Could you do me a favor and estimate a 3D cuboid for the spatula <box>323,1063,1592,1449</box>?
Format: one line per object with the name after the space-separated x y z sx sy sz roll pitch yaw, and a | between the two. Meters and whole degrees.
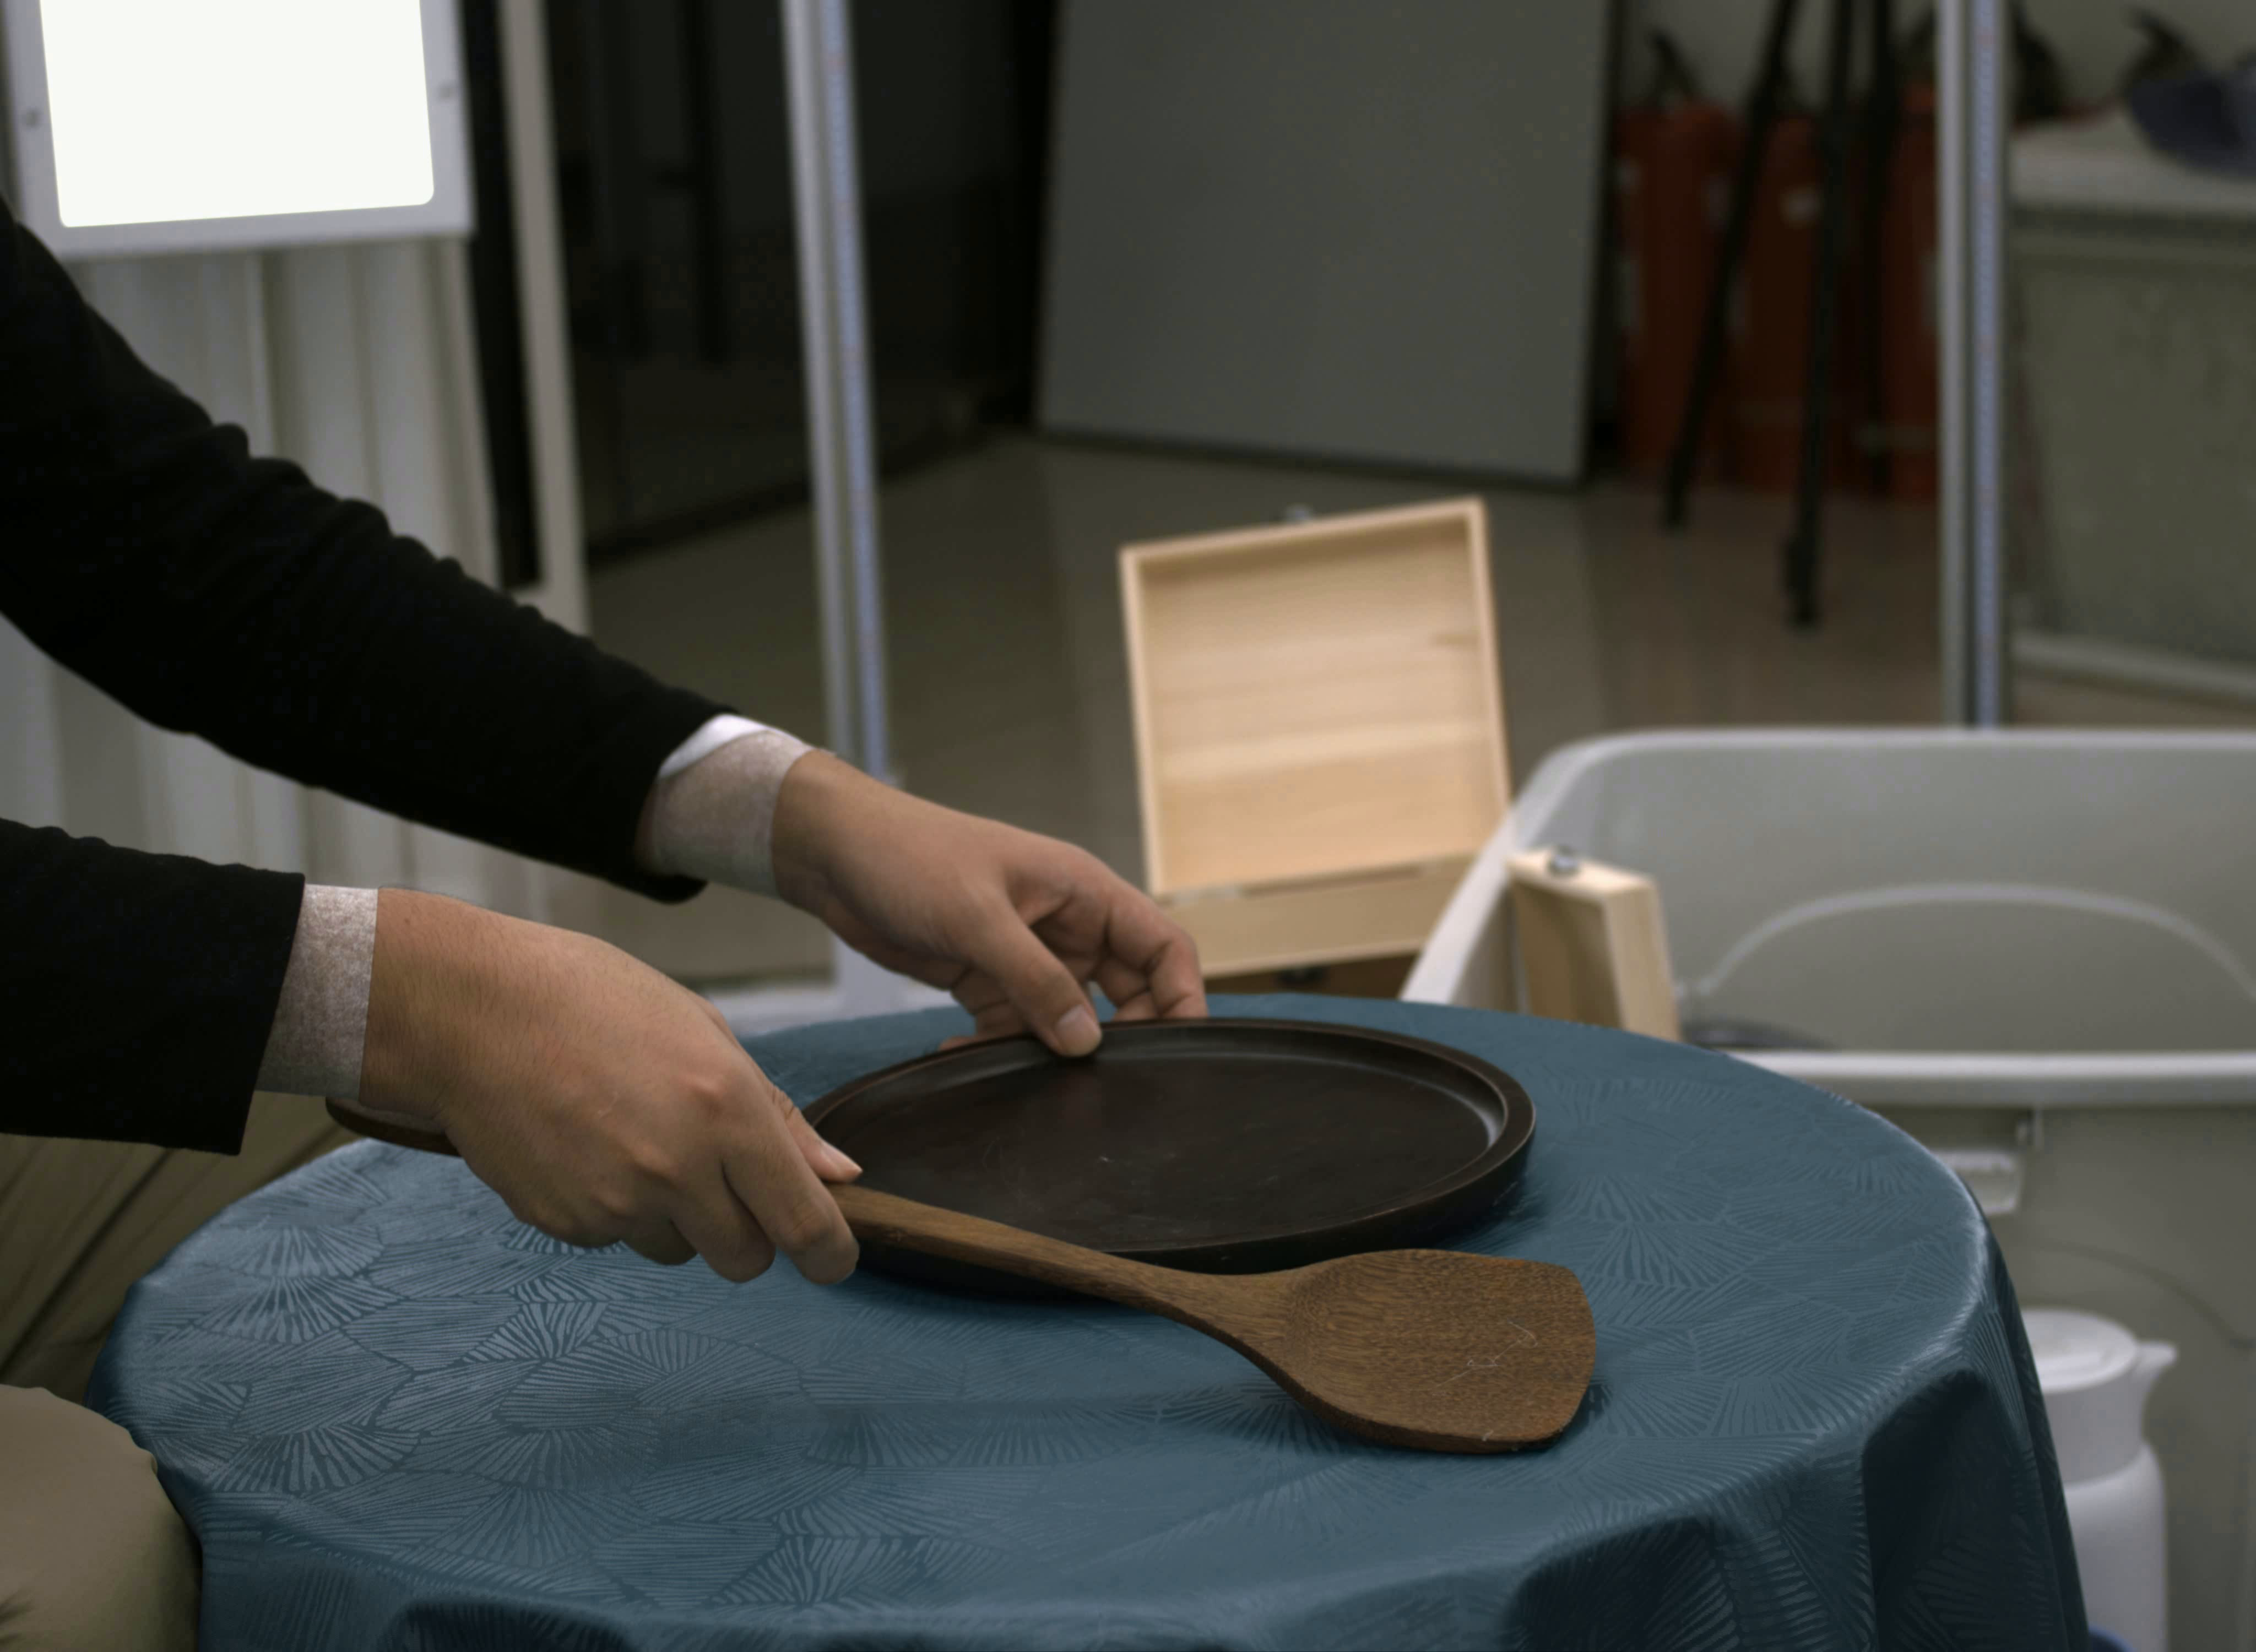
-0.052 0.118 1.575 0.383 0.016 0.096 13 32 8 | spatula

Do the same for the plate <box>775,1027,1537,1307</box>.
0.010 0.109 1.768 0.251 0.029 0.255 -5 15 0 | plate
